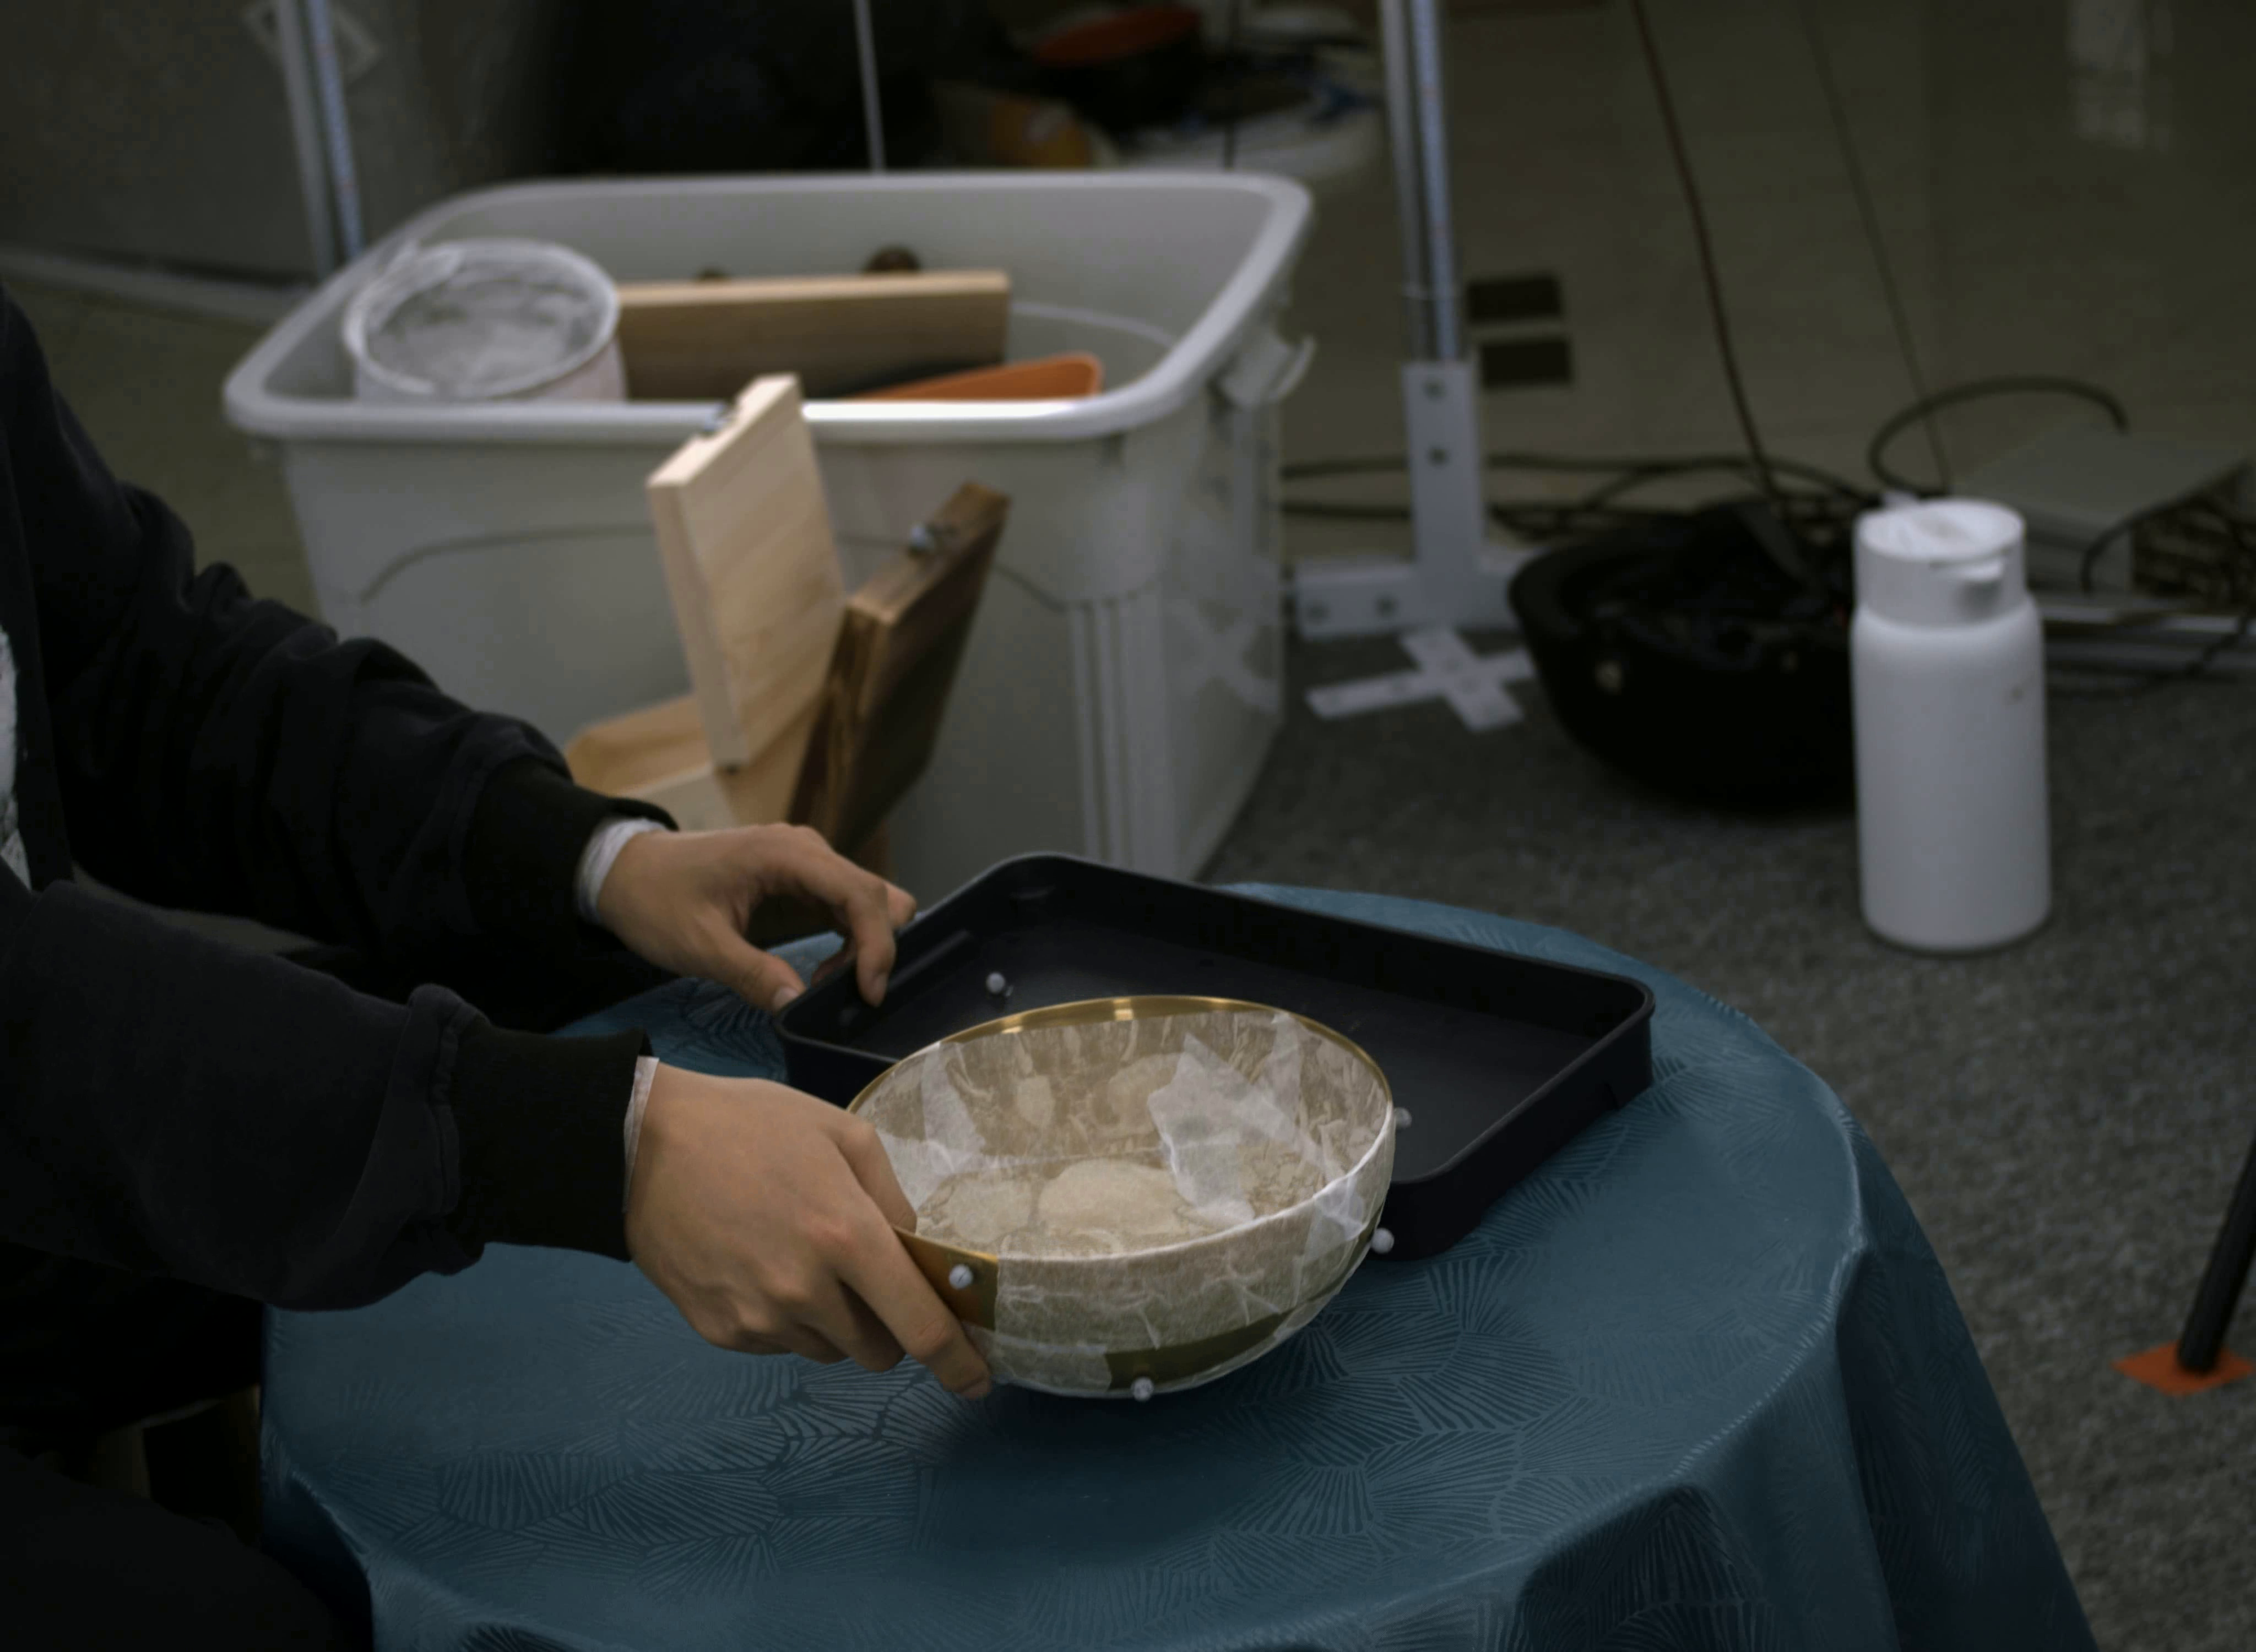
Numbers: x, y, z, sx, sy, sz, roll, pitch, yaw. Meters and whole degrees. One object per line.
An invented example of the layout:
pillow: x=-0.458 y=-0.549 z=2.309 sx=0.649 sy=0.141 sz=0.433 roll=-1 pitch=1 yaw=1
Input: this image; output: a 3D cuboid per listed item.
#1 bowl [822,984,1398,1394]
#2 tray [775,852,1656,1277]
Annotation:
bowl: x=-0.001 y=0.140 z=2.023 sx=0.214 sy=0.096 sz=0.211 roll=-6 pitch=25 yaw=3
tray: x=0.032 y=0.089 z=2.216 sx=0.316 sy=0.037 sz=0.182 roll=15 pitch=31 yaw=35
